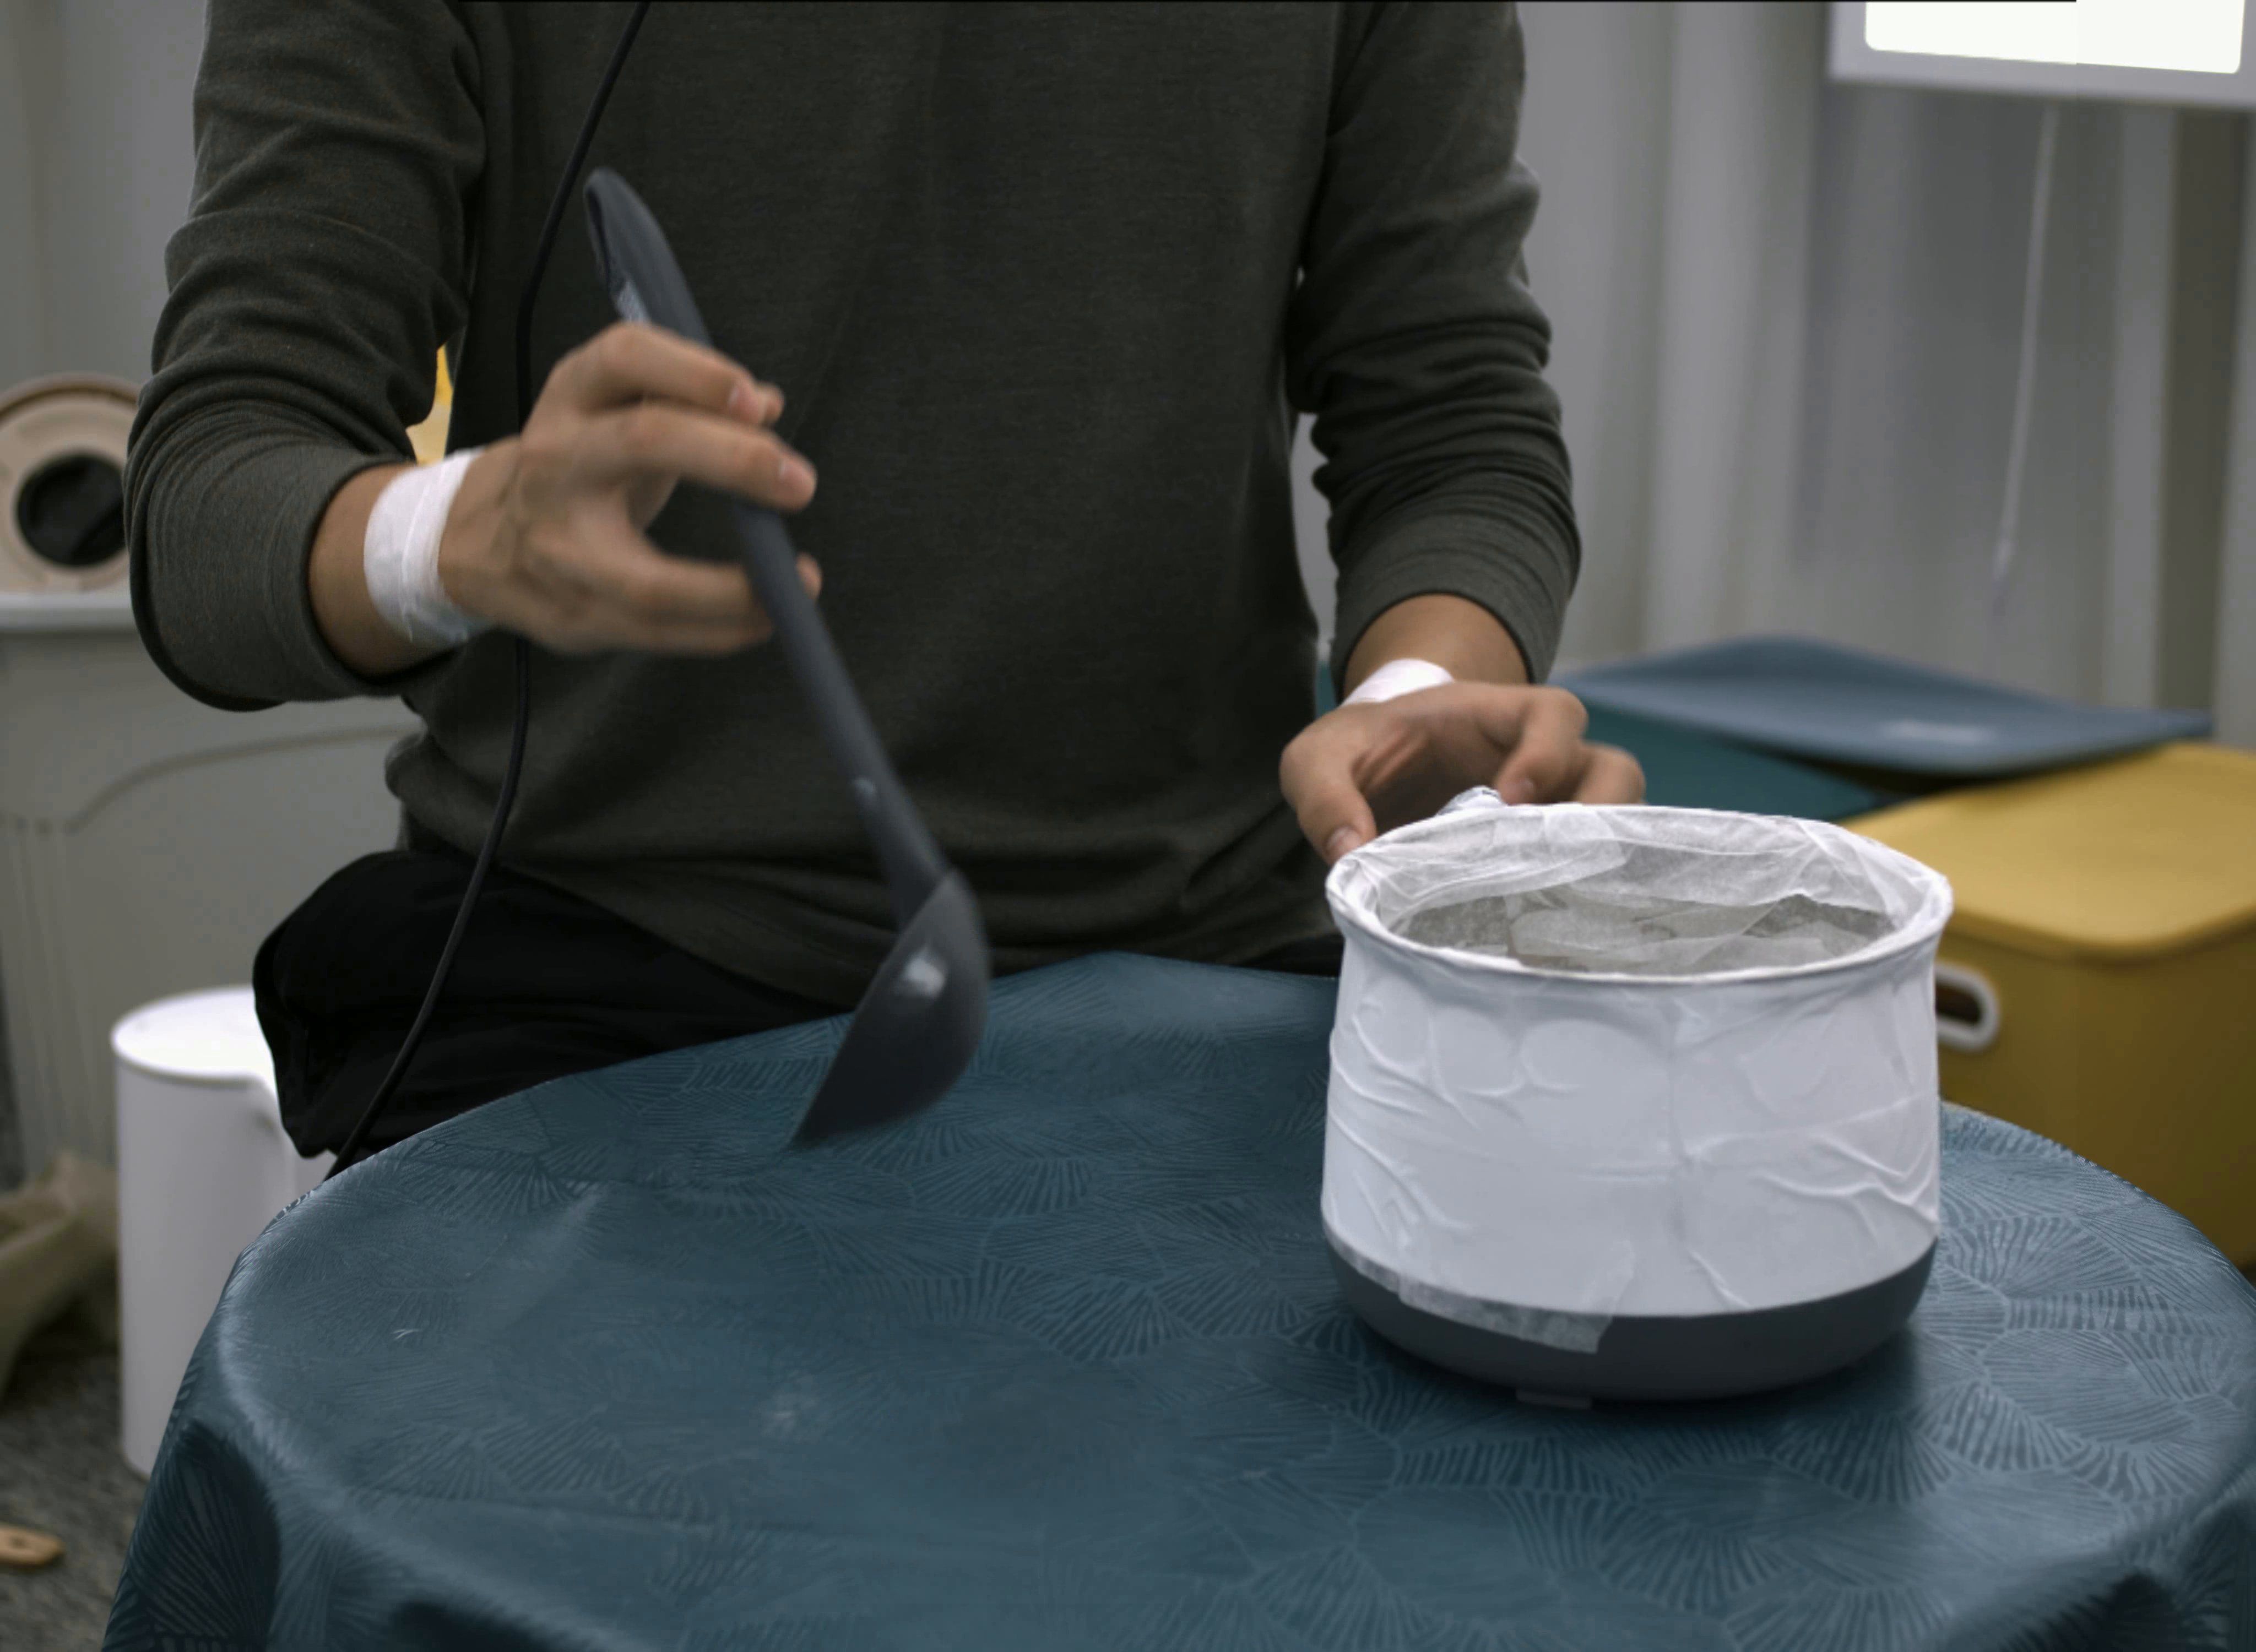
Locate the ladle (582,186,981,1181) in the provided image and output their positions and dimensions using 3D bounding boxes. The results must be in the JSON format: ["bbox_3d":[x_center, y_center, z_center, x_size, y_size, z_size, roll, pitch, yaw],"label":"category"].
[{"bbox_3d":[-0.112,-0.049,1.422,0.064,0.086,0.311,-8,61,-33],"label":"ladle"}]

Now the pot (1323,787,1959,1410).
[{"bbox_3d":[0.132,0.072,1.521,0.179,0.138,0.231,-6,17,-24],"label":"pot"}]
